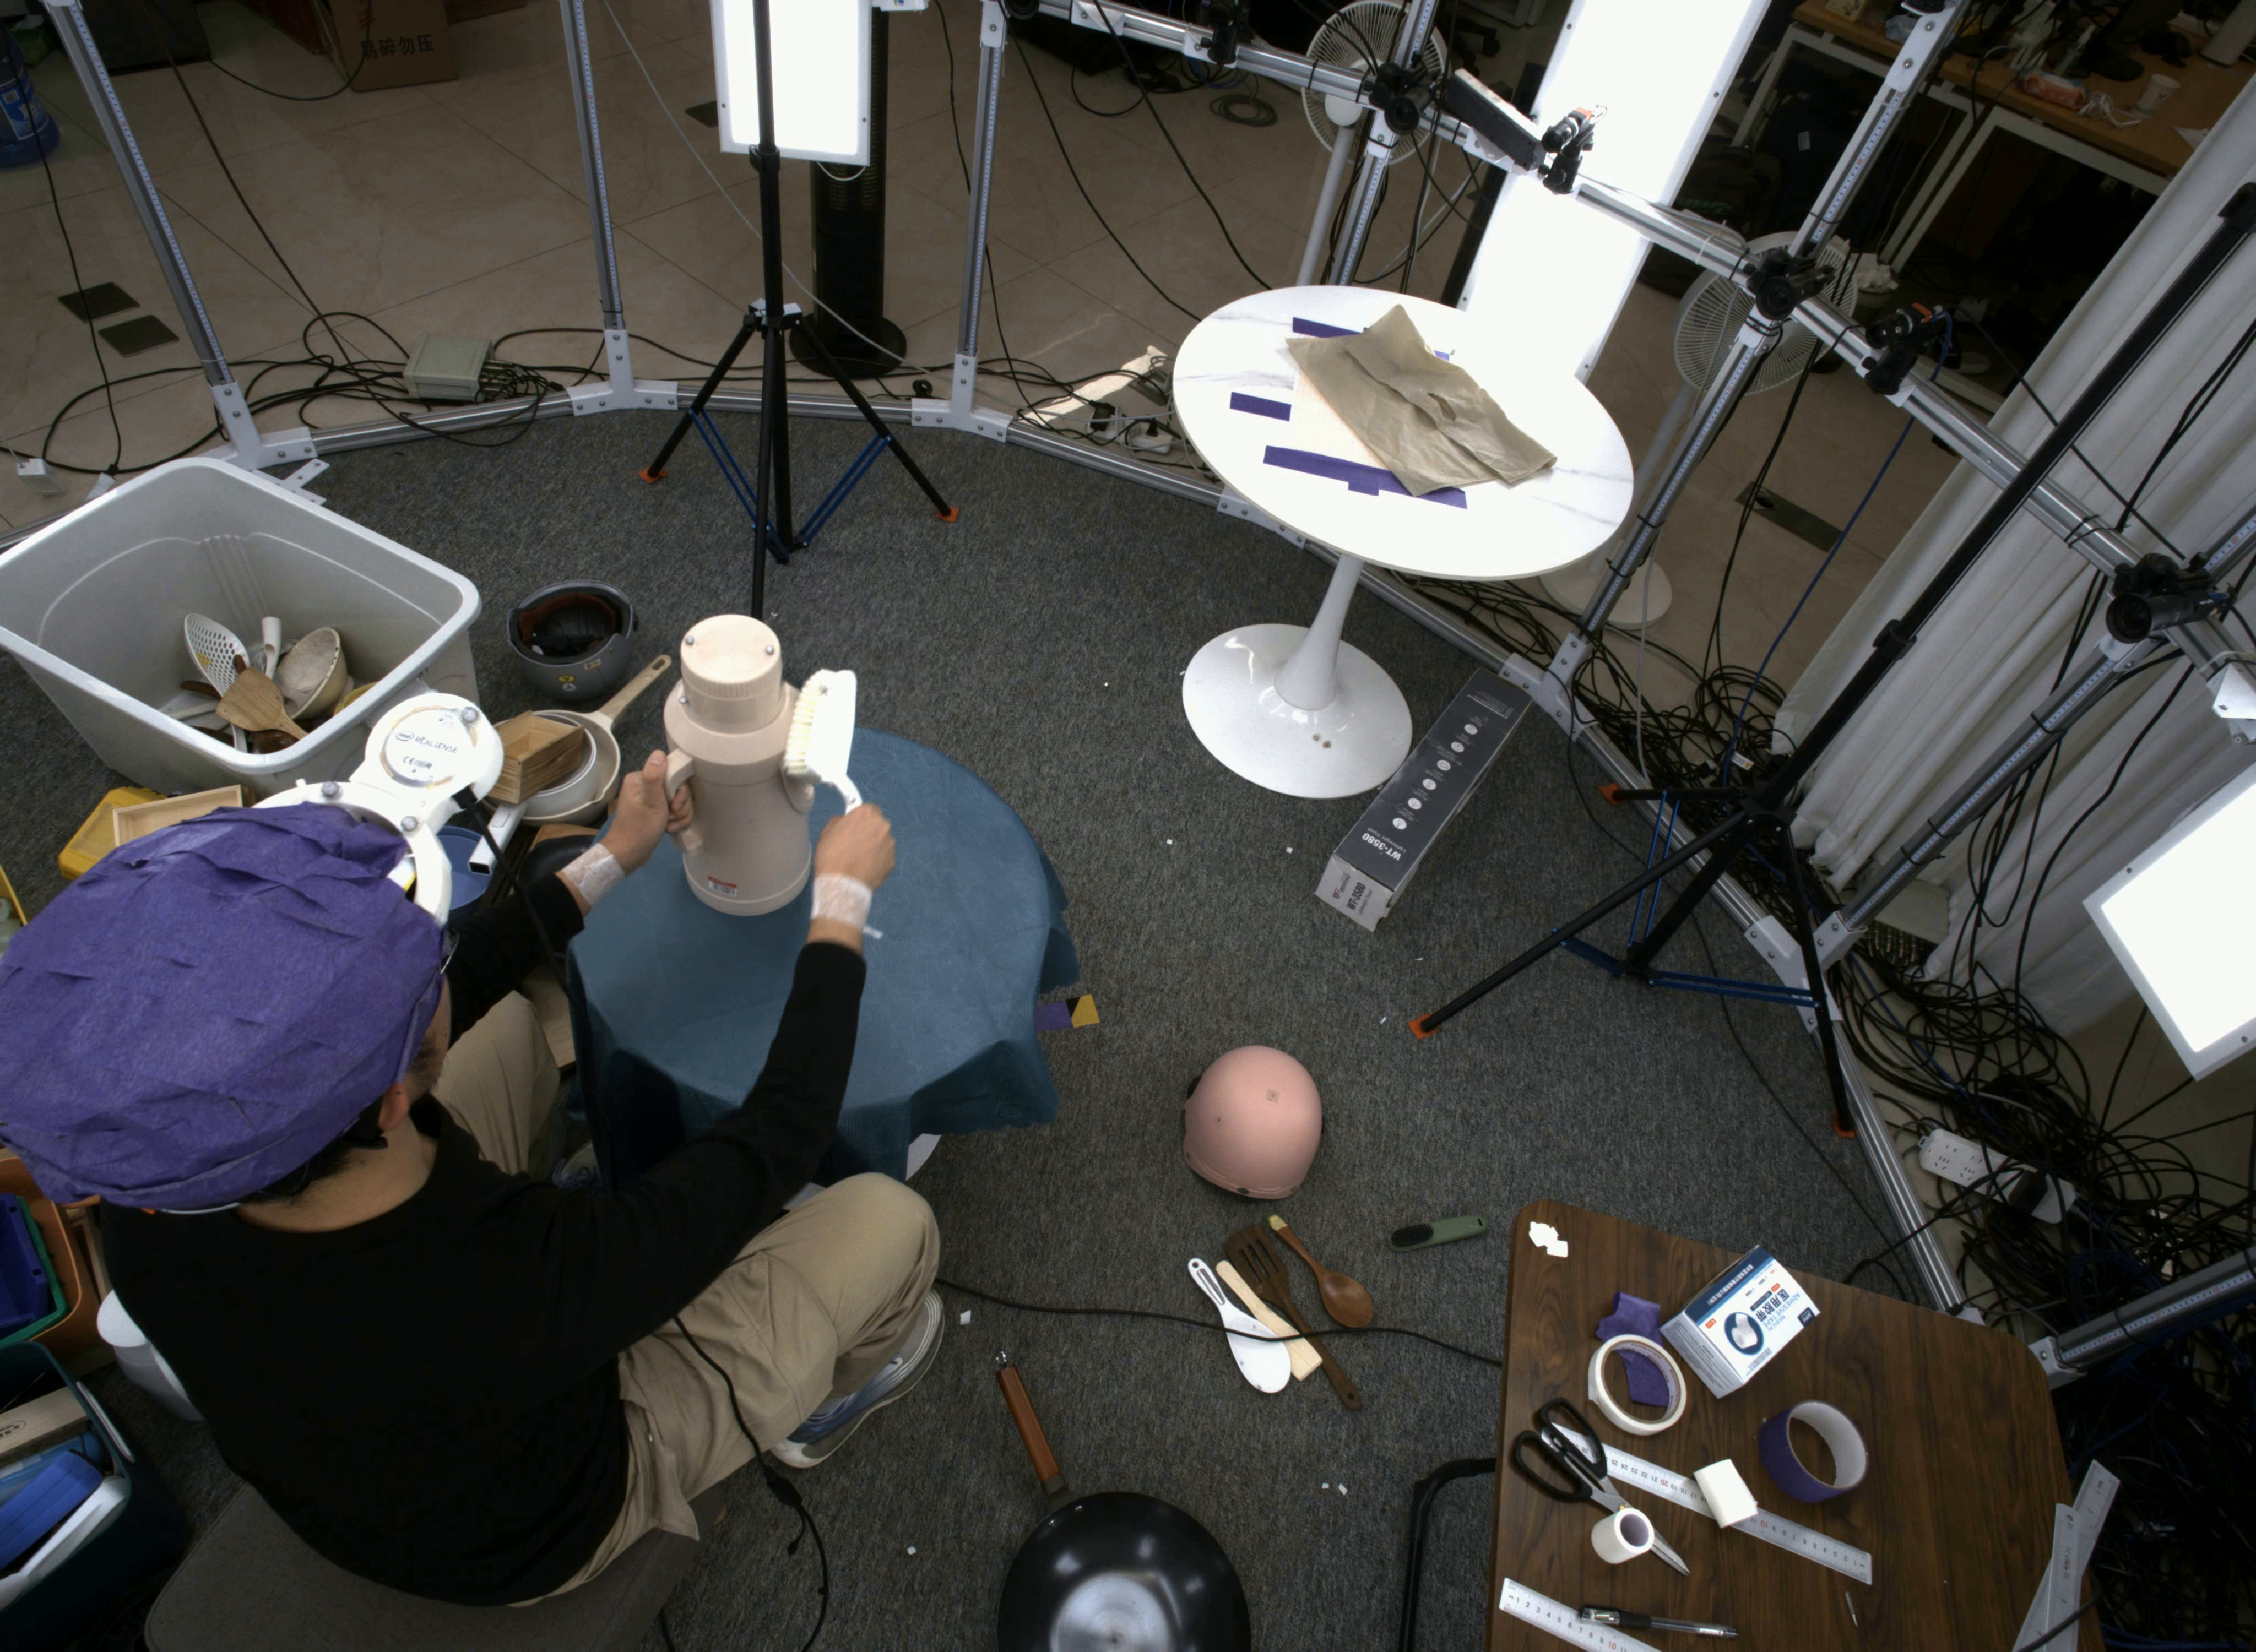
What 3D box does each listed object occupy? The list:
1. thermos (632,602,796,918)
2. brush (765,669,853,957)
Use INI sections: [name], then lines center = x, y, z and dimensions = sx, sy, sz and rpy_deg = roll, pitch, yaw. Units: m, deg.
[thermos]
center = -0.484, -0.065, 1.494
dimensions = 0.172, 0.414, 0.206
rpy_deg = 32, 52, 12
[brush]
center = -0.351, -0.016, 1.404
dimensions = 0.084, 0.083, 0.324
rpy_deg = 4, 72, -30
